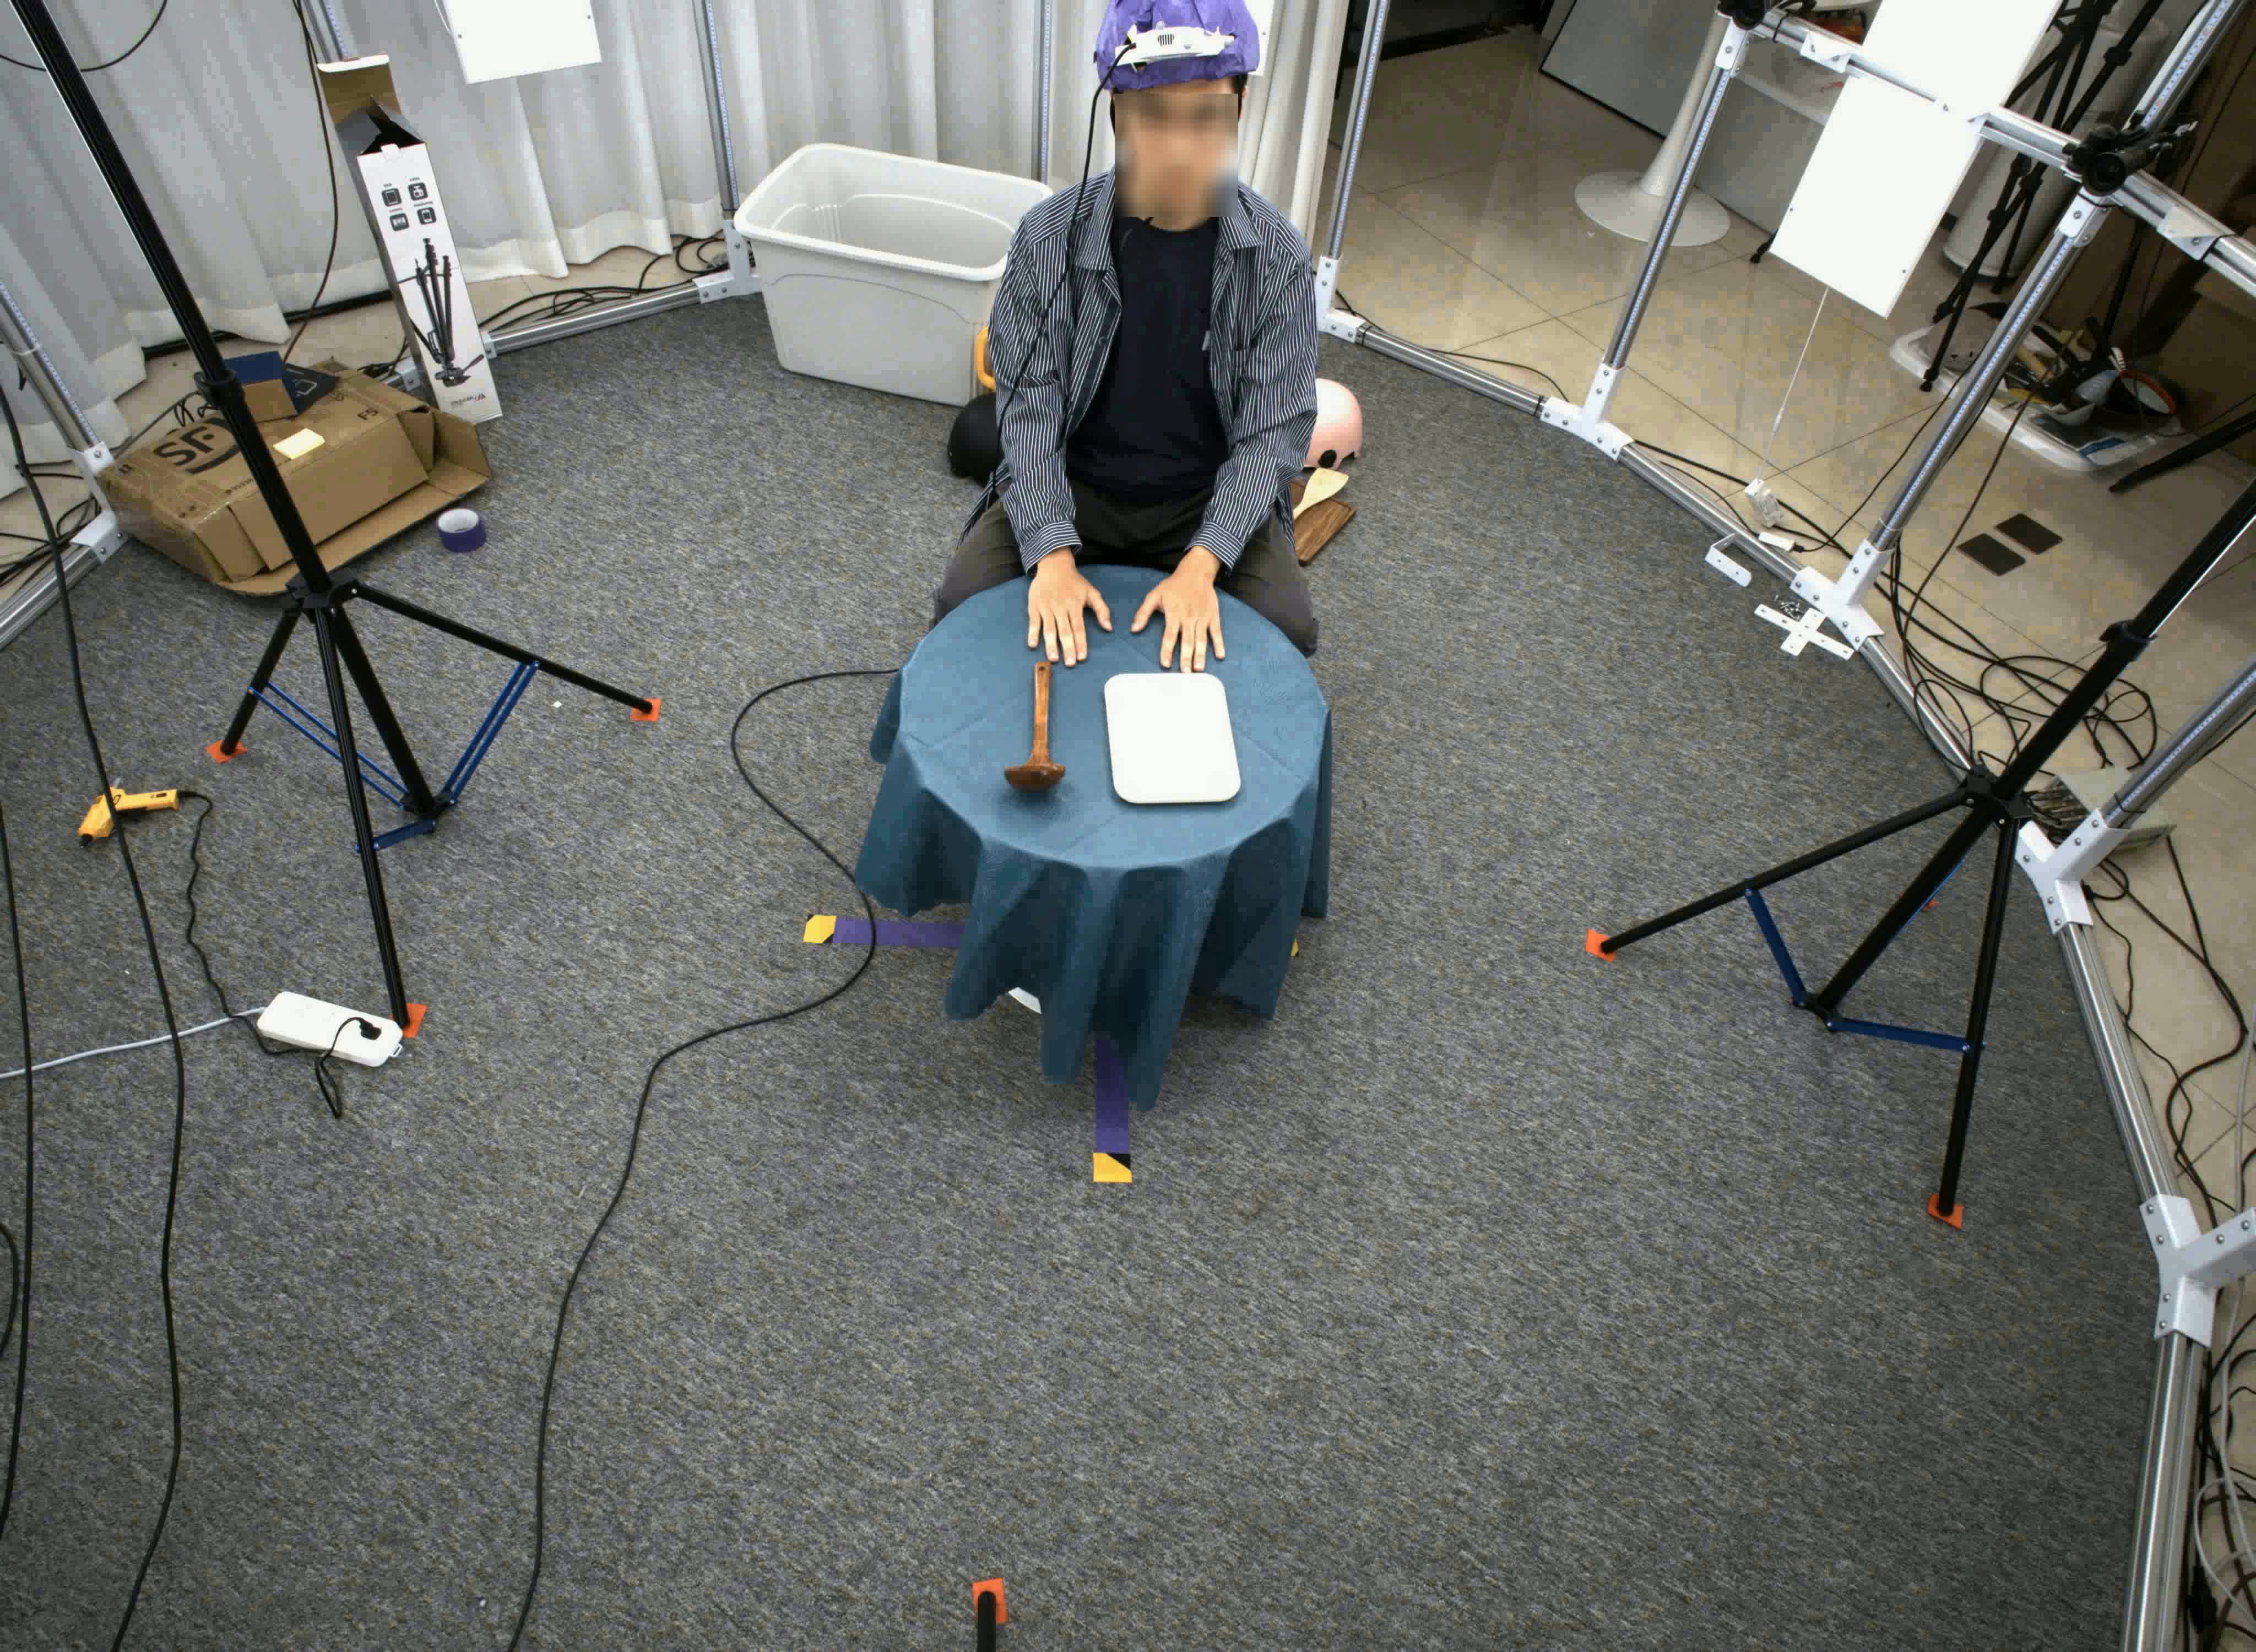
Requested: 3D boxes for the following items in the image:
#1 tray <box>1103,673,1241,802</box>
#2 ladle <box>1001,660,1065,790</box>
[{"bbox_3d":[0.058,-0.123,1.758,0.171,0.017,0.246,-1,48,-7],"label":"tray"},{"bbox_3d":[-0.121,-0.151,1.729,0.082,0.075,0.281,0,49,1],"label":"ladle"}]
